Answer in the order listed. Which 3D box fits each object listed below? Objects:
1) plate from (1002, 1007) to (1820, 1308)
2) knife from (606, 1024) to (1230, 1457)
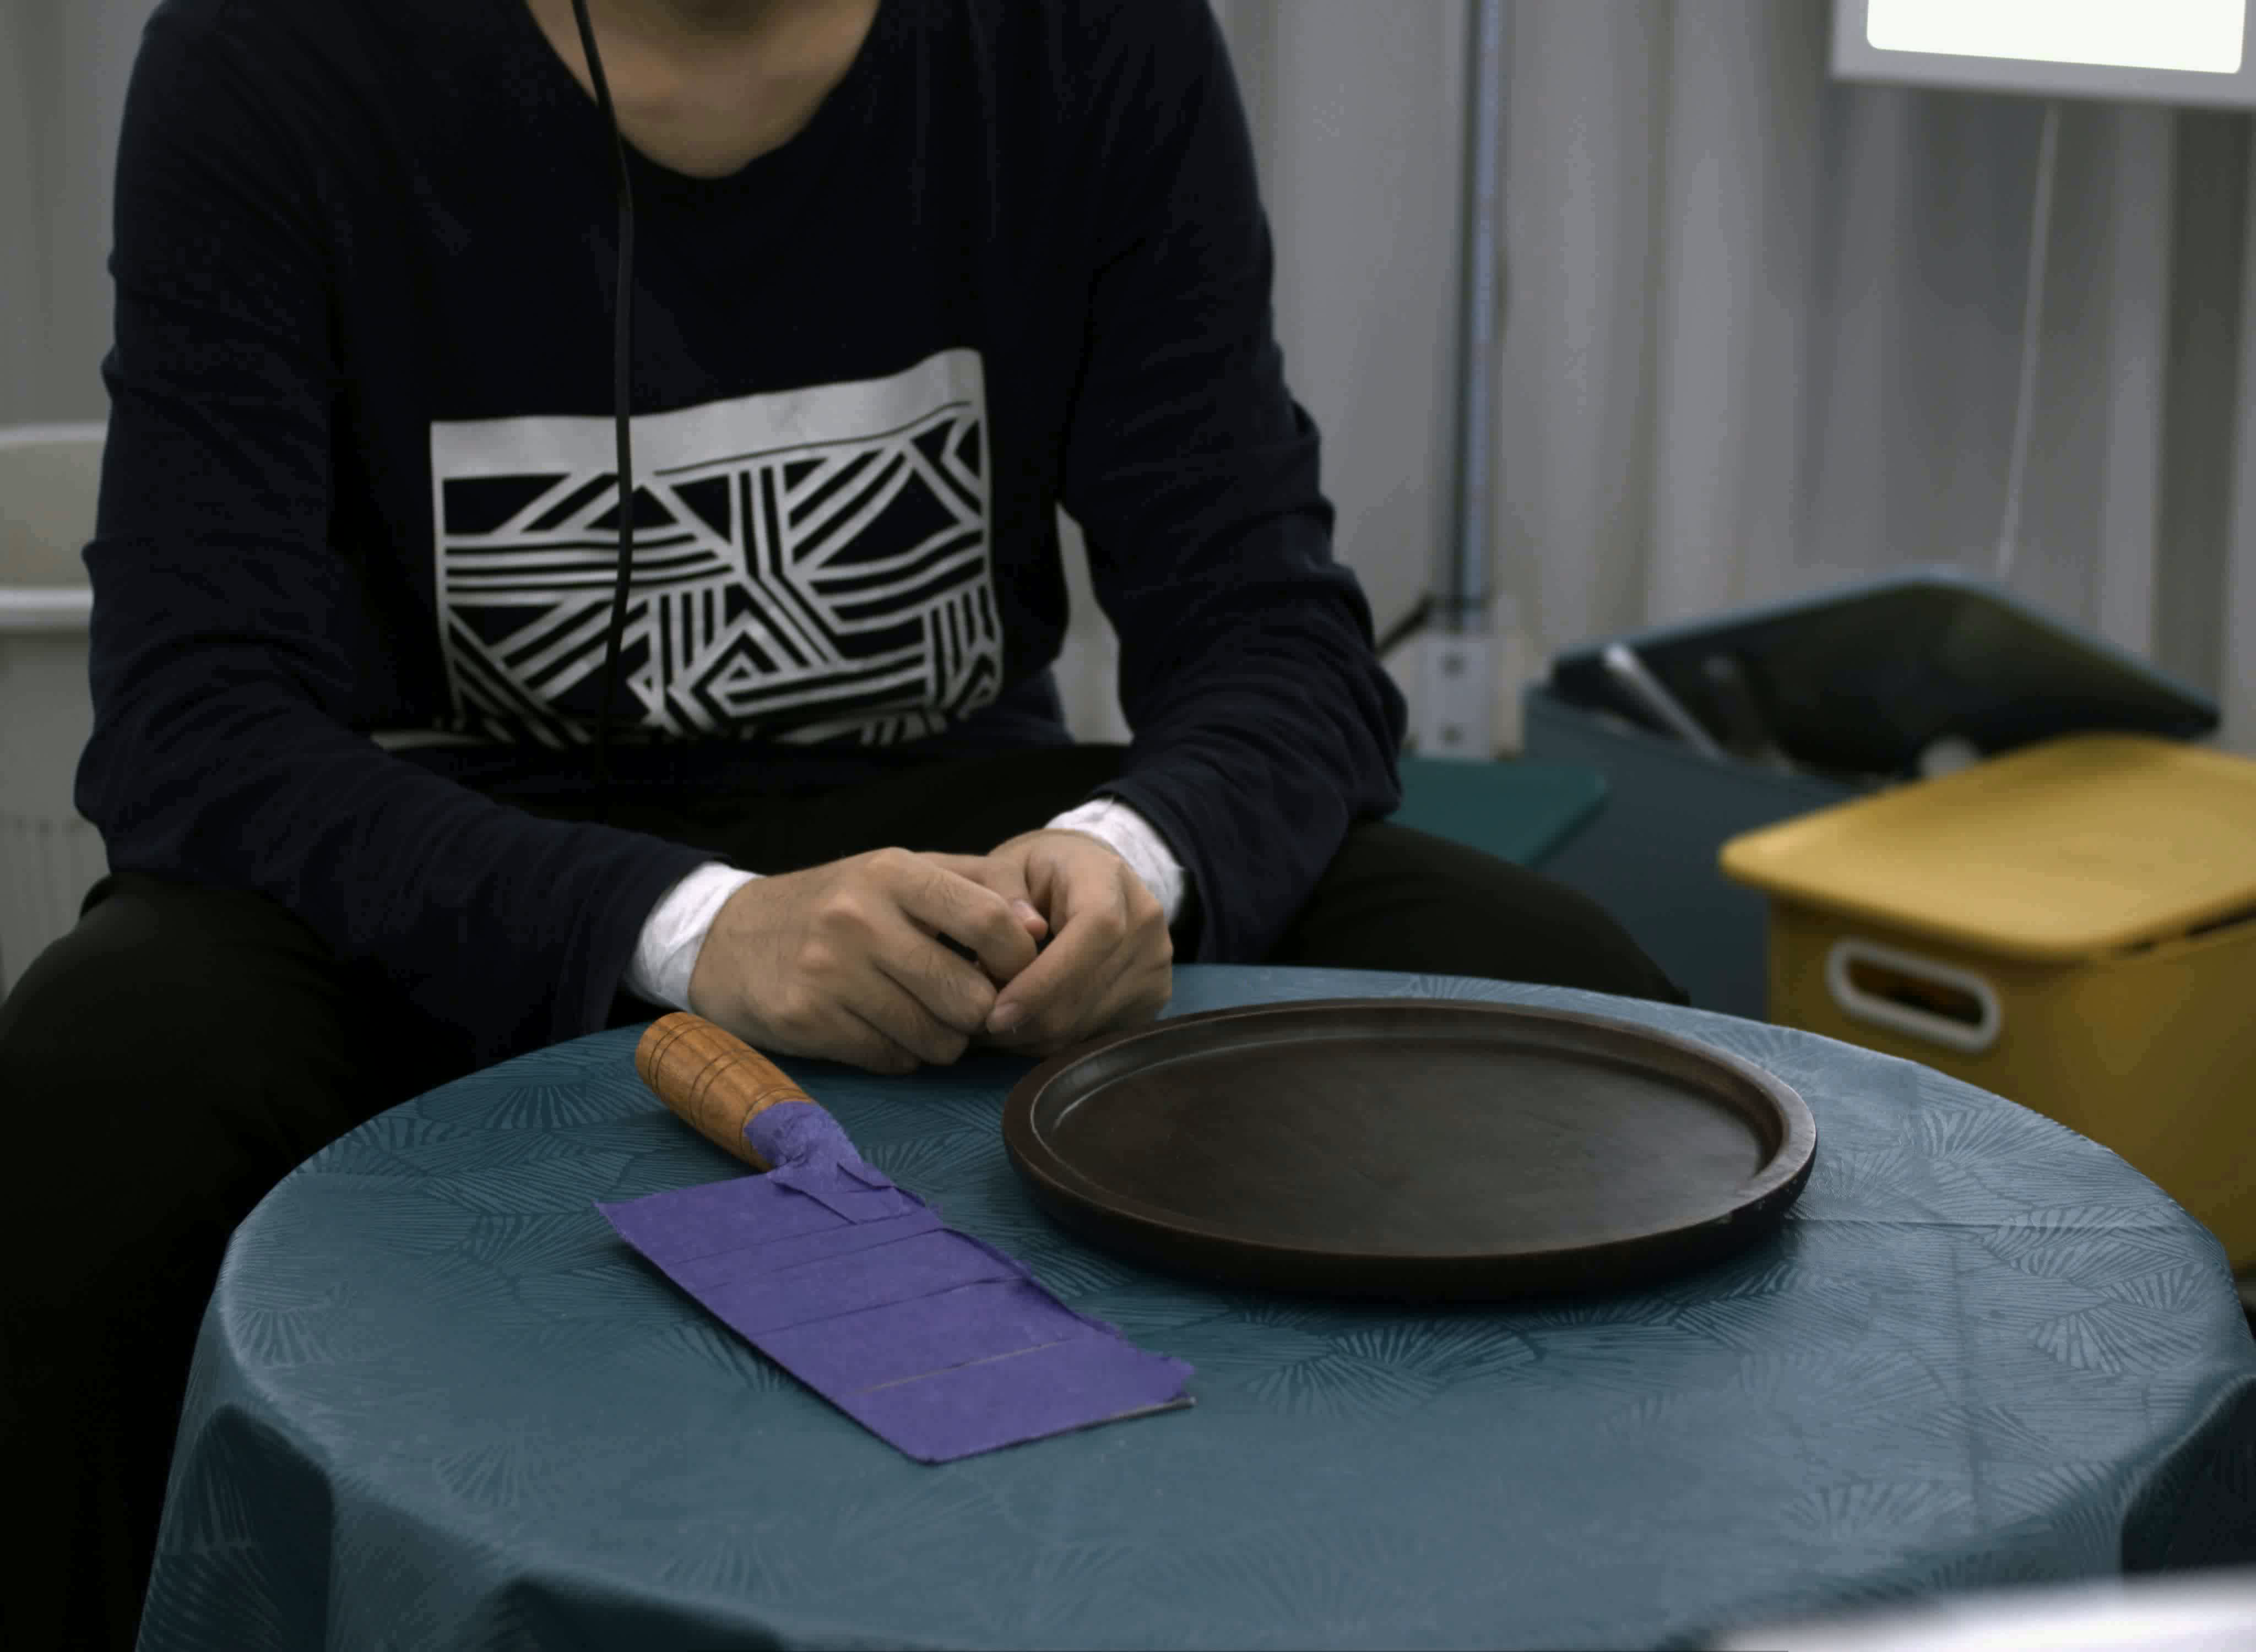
[{"bbox_3d":[0.087,0.099,1.631,0.254,0.029,0.253,2,16,0],"label":"plate"},{"bbox_3d":[-0.094,0.118,1.551,0.104,0.032,0.311,-9,18,-31],"label":"knife"}]
